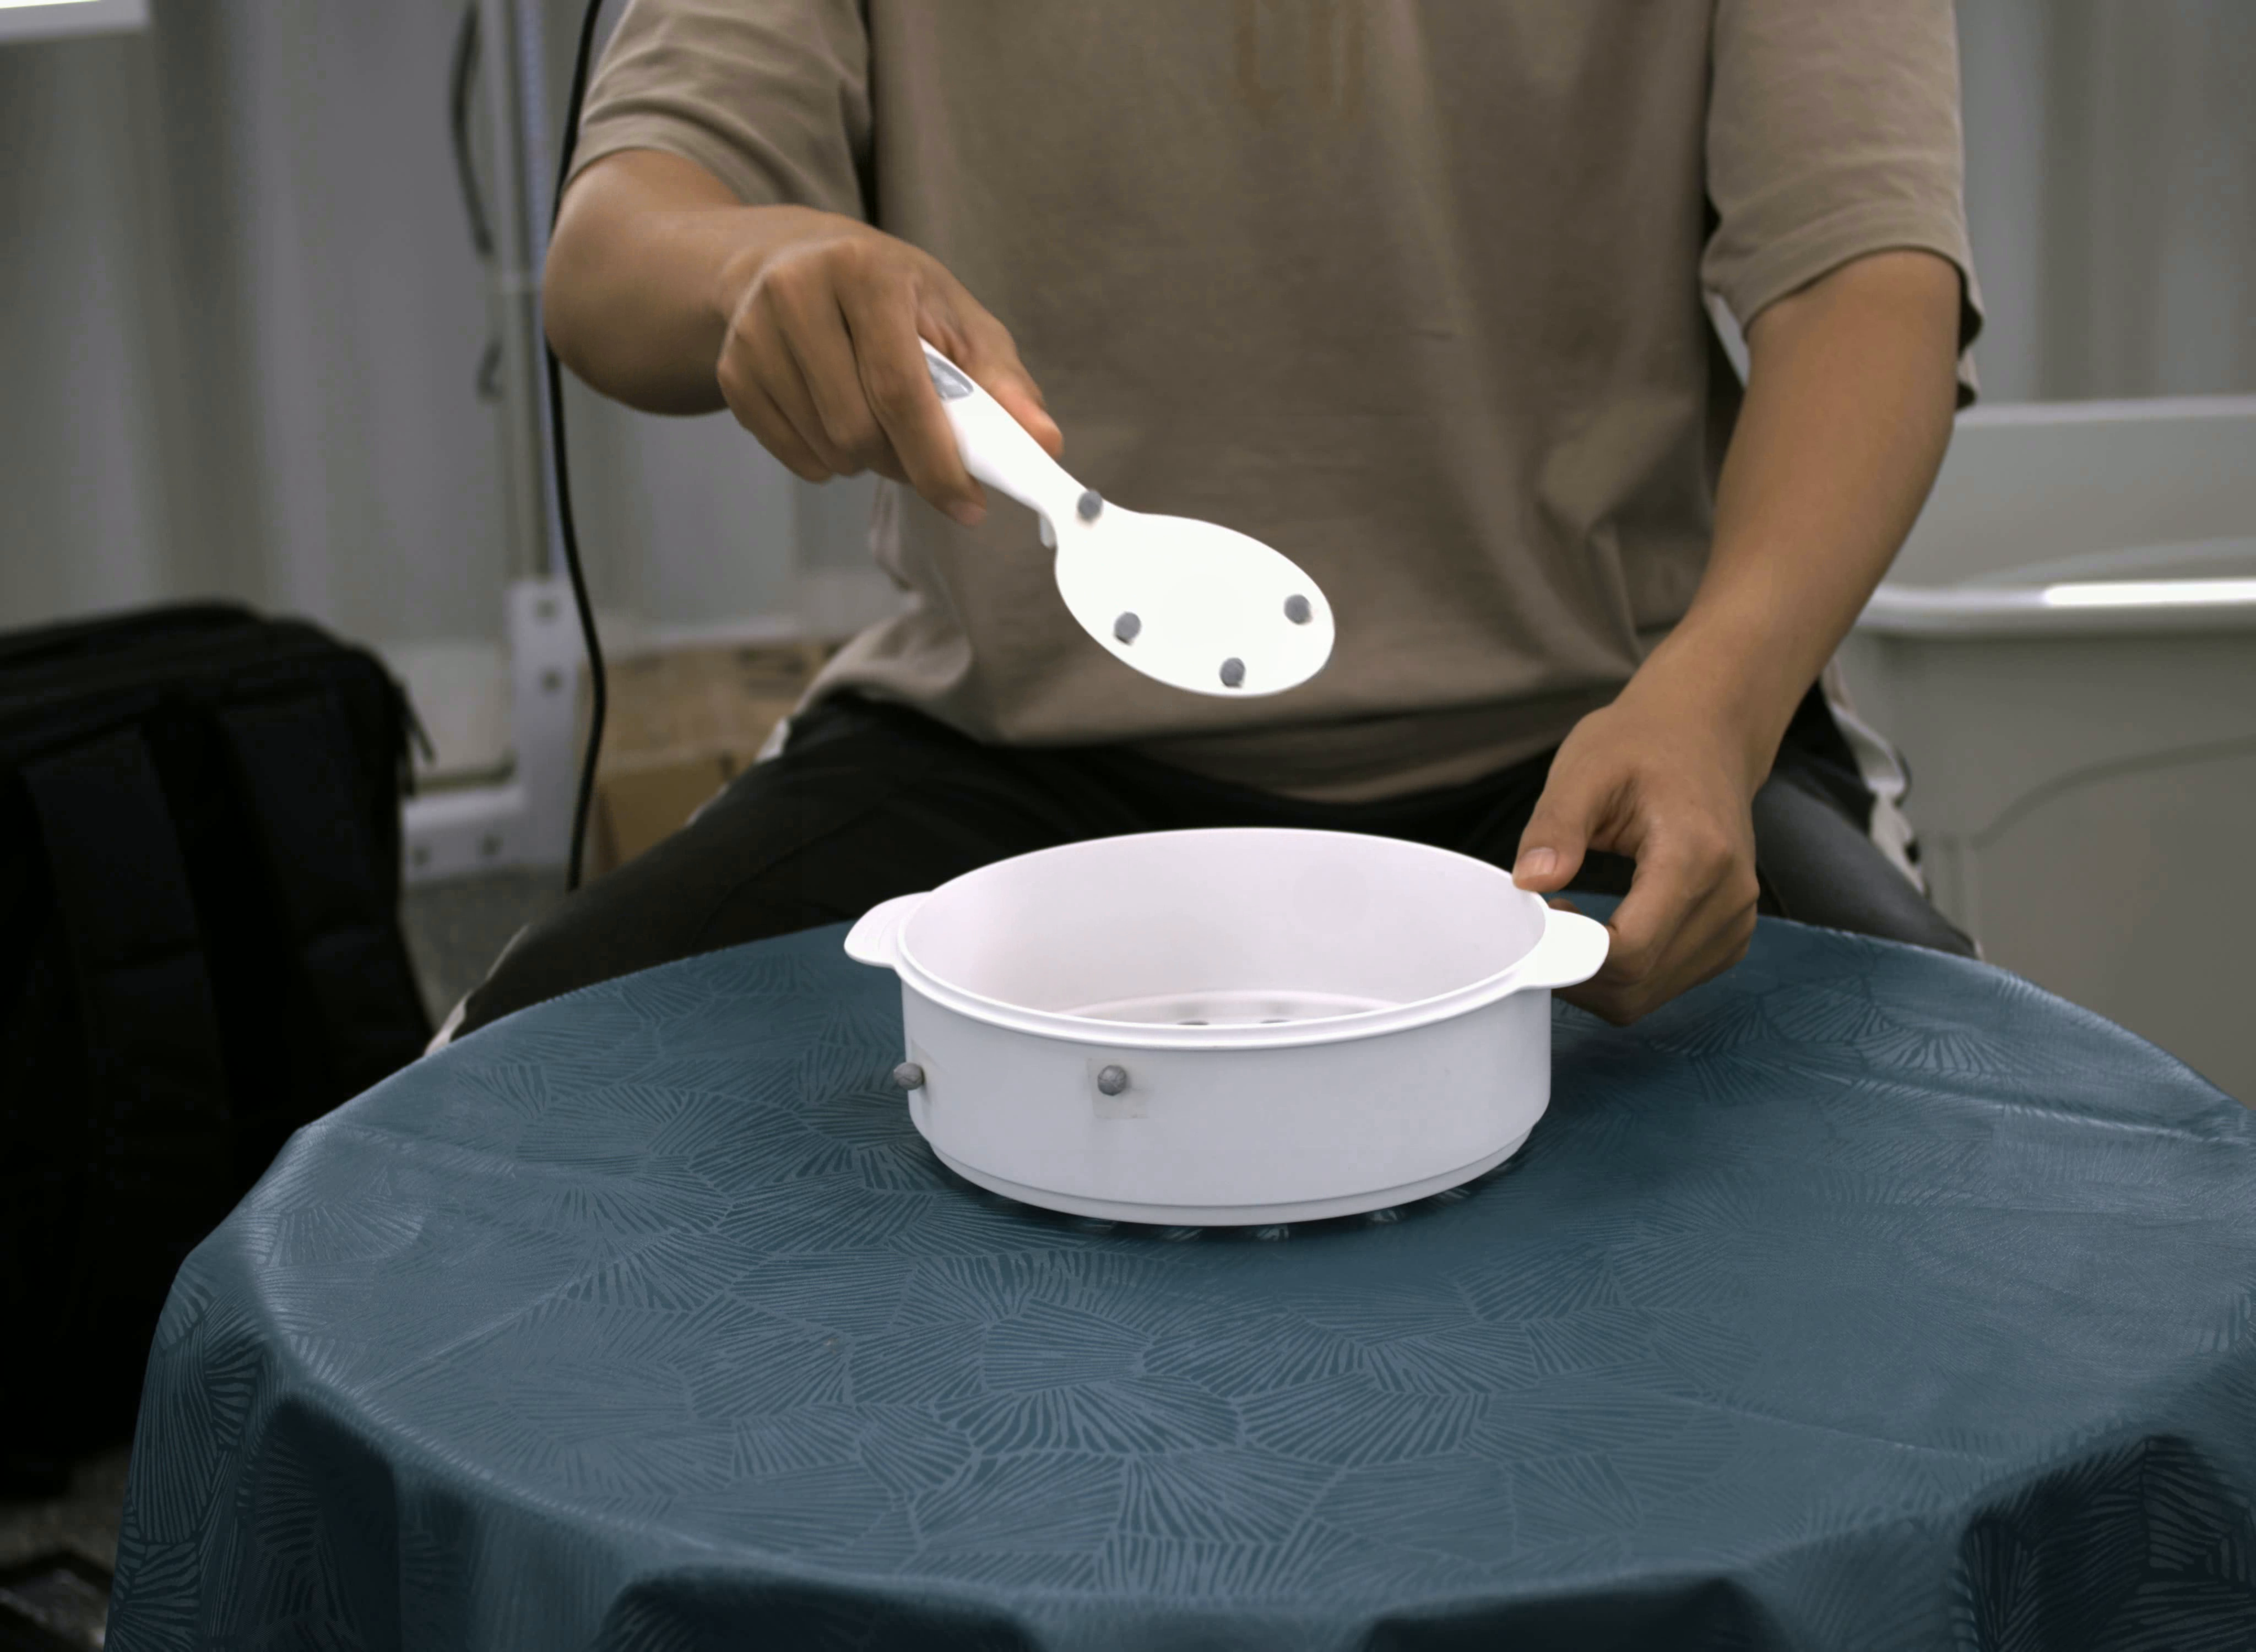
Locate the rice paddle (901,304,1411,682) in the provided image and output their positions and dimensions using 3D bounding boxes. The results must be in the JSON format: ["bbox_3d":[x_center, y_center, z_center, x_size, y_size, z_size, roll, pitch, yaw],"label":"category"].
[{"bbox_3d":[0.006,-0.097,1.572,0.067,0.029,0.210,-27,45,-27],"label":"rice paddle"}]

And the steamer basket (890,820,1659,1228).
[{"bbox_3d":[0.043,0.059,1.592,0.232,0.069,0.200,4,17,13],"label":"steamer basket"}]
